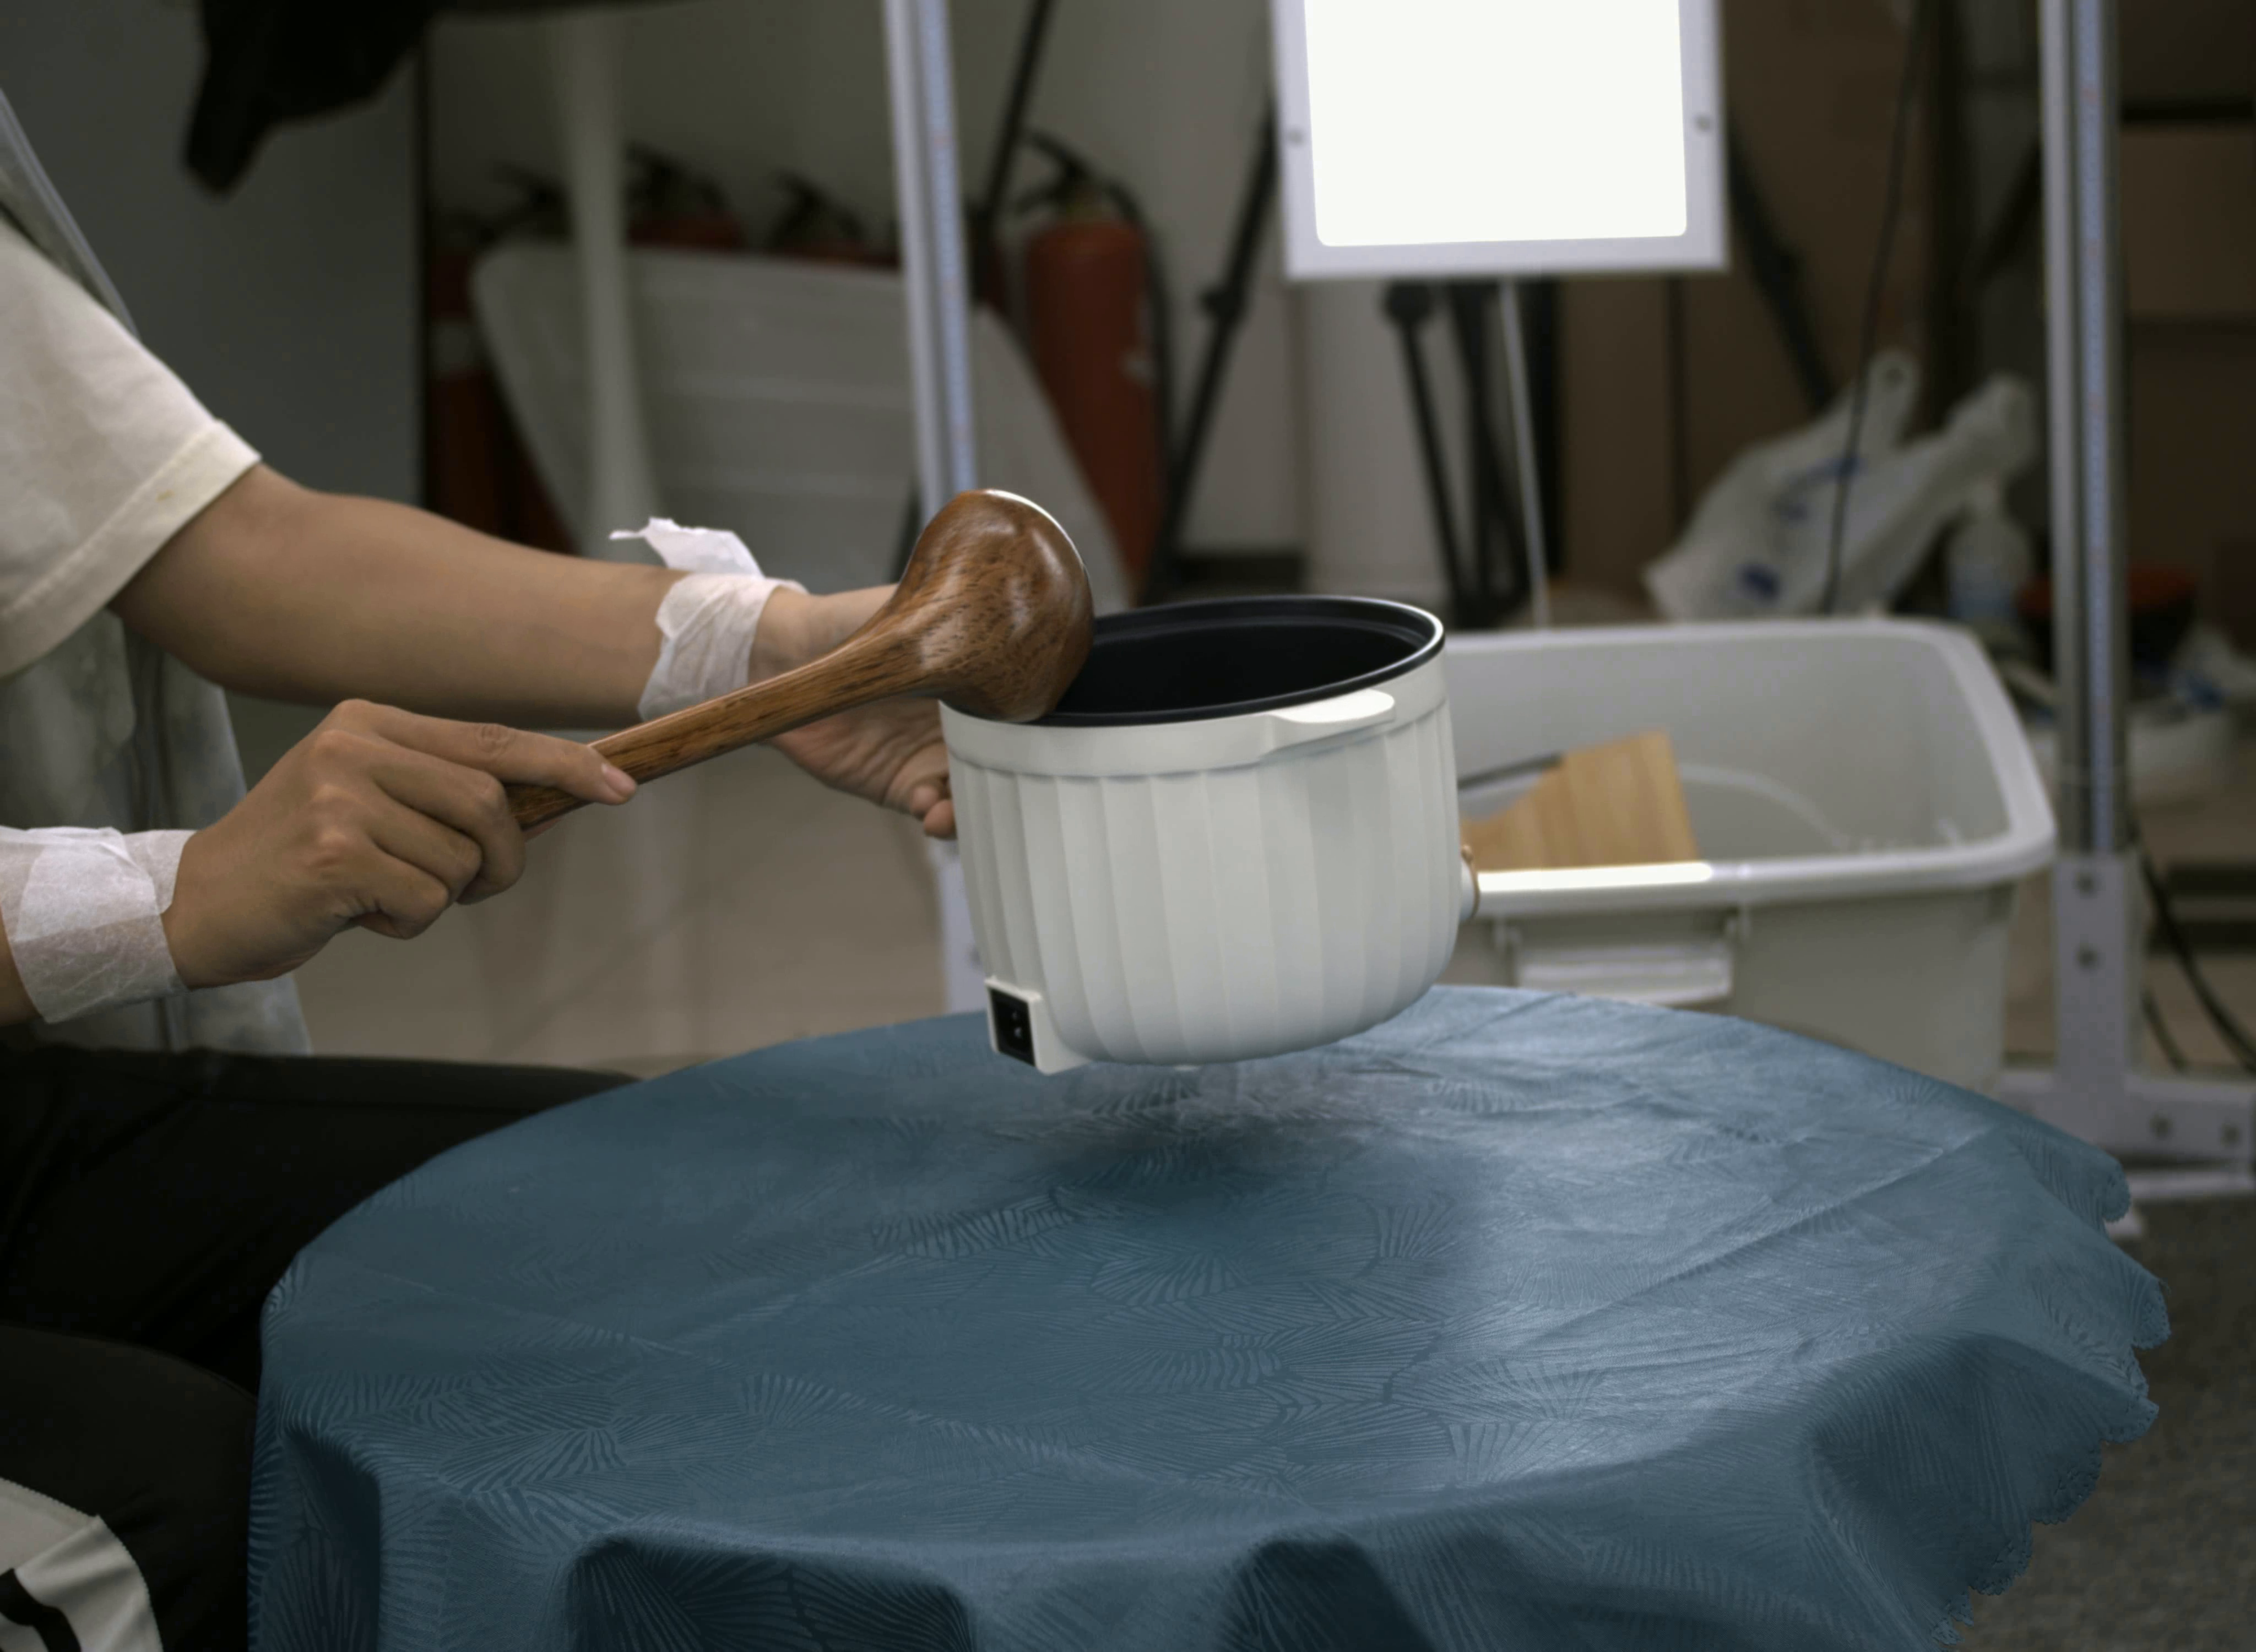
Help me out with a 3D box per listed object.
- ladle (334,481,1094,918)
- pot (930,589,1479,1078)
[{"bbox_3d":[-0.139,-0.037,1.854,0.273,0.082,0.077,-23,3,-3],"label":"ladle"},{"bbox_3d":[0.033,0.001,1.956,0.187,0.143,0.244,-18,18,-24],"label":"pot"}]
